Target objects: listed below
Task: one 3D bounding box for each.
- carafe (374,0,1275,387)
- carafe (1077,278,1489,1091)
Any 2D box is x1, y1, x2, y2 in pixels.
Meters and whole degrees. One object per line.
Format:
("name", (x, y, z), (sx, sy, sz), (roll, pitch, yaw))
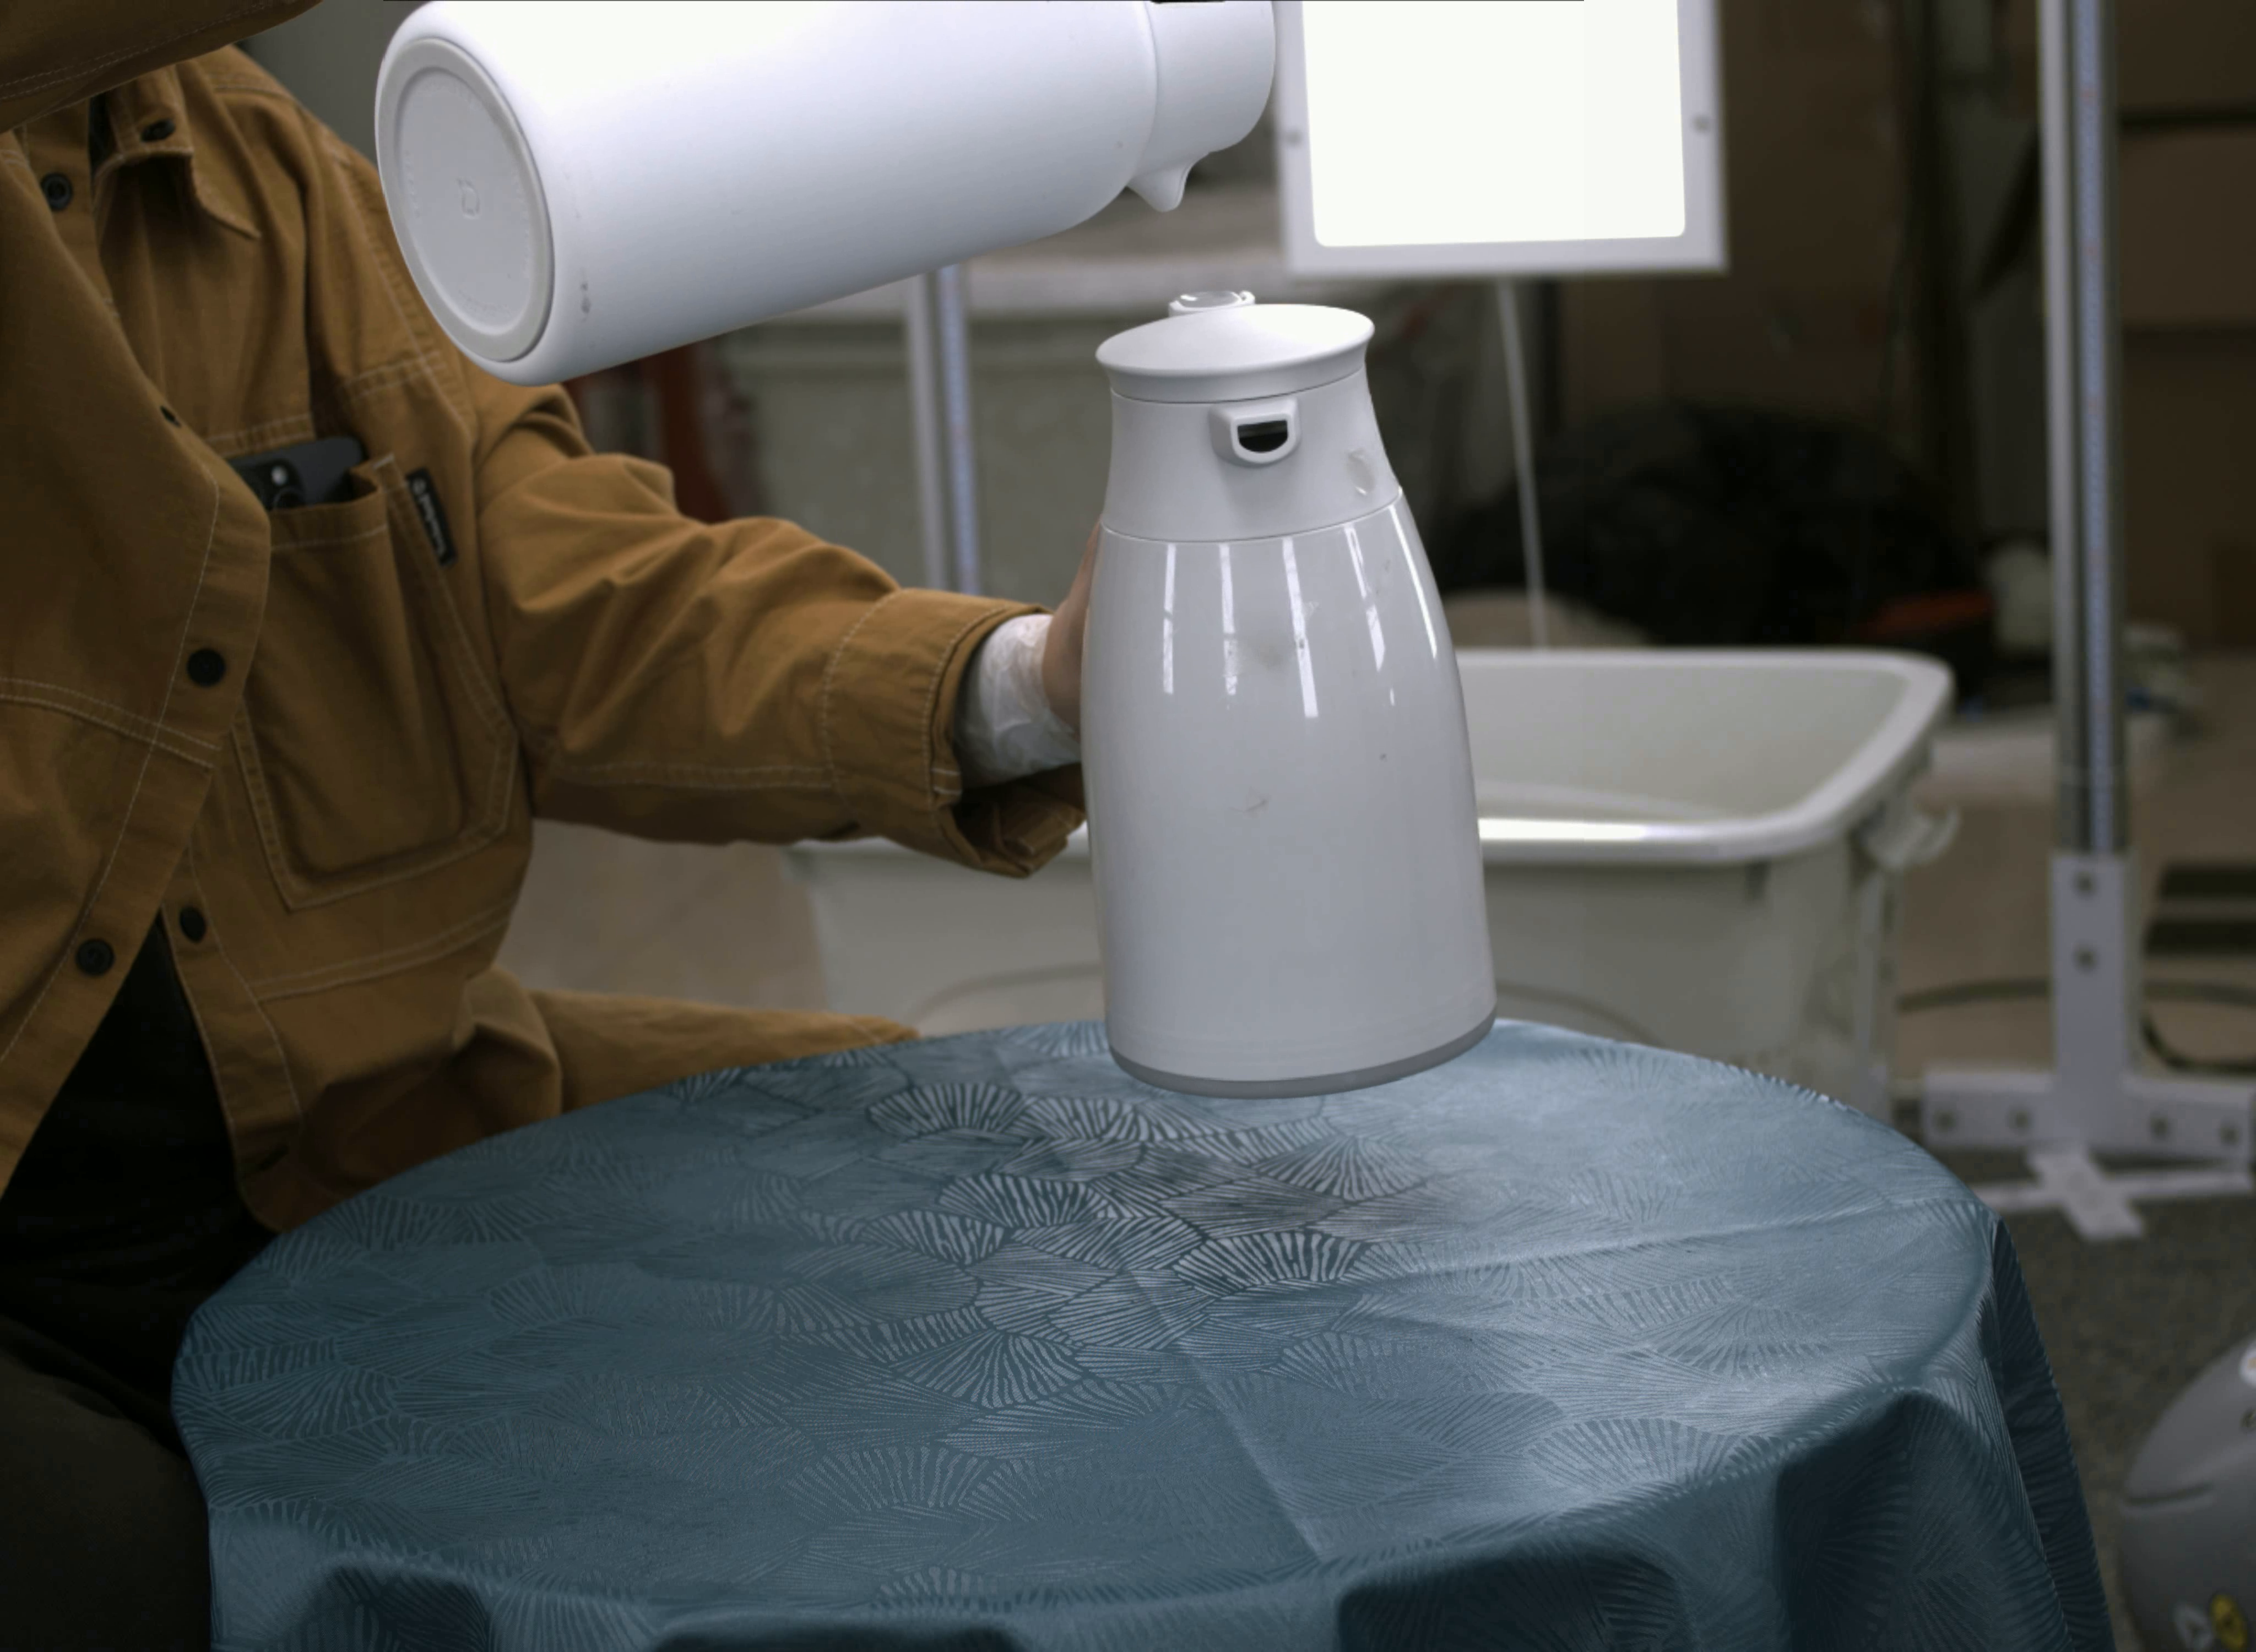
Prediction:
("carafe", (-0.088, -0.237, 1.665), (0.263, 0.174, 0.126), (-20, 34, -28))
("carafe", (0.043, -0.055, 1.835), (0.132, 0.249, 0.168), (-7, 16, -3))
